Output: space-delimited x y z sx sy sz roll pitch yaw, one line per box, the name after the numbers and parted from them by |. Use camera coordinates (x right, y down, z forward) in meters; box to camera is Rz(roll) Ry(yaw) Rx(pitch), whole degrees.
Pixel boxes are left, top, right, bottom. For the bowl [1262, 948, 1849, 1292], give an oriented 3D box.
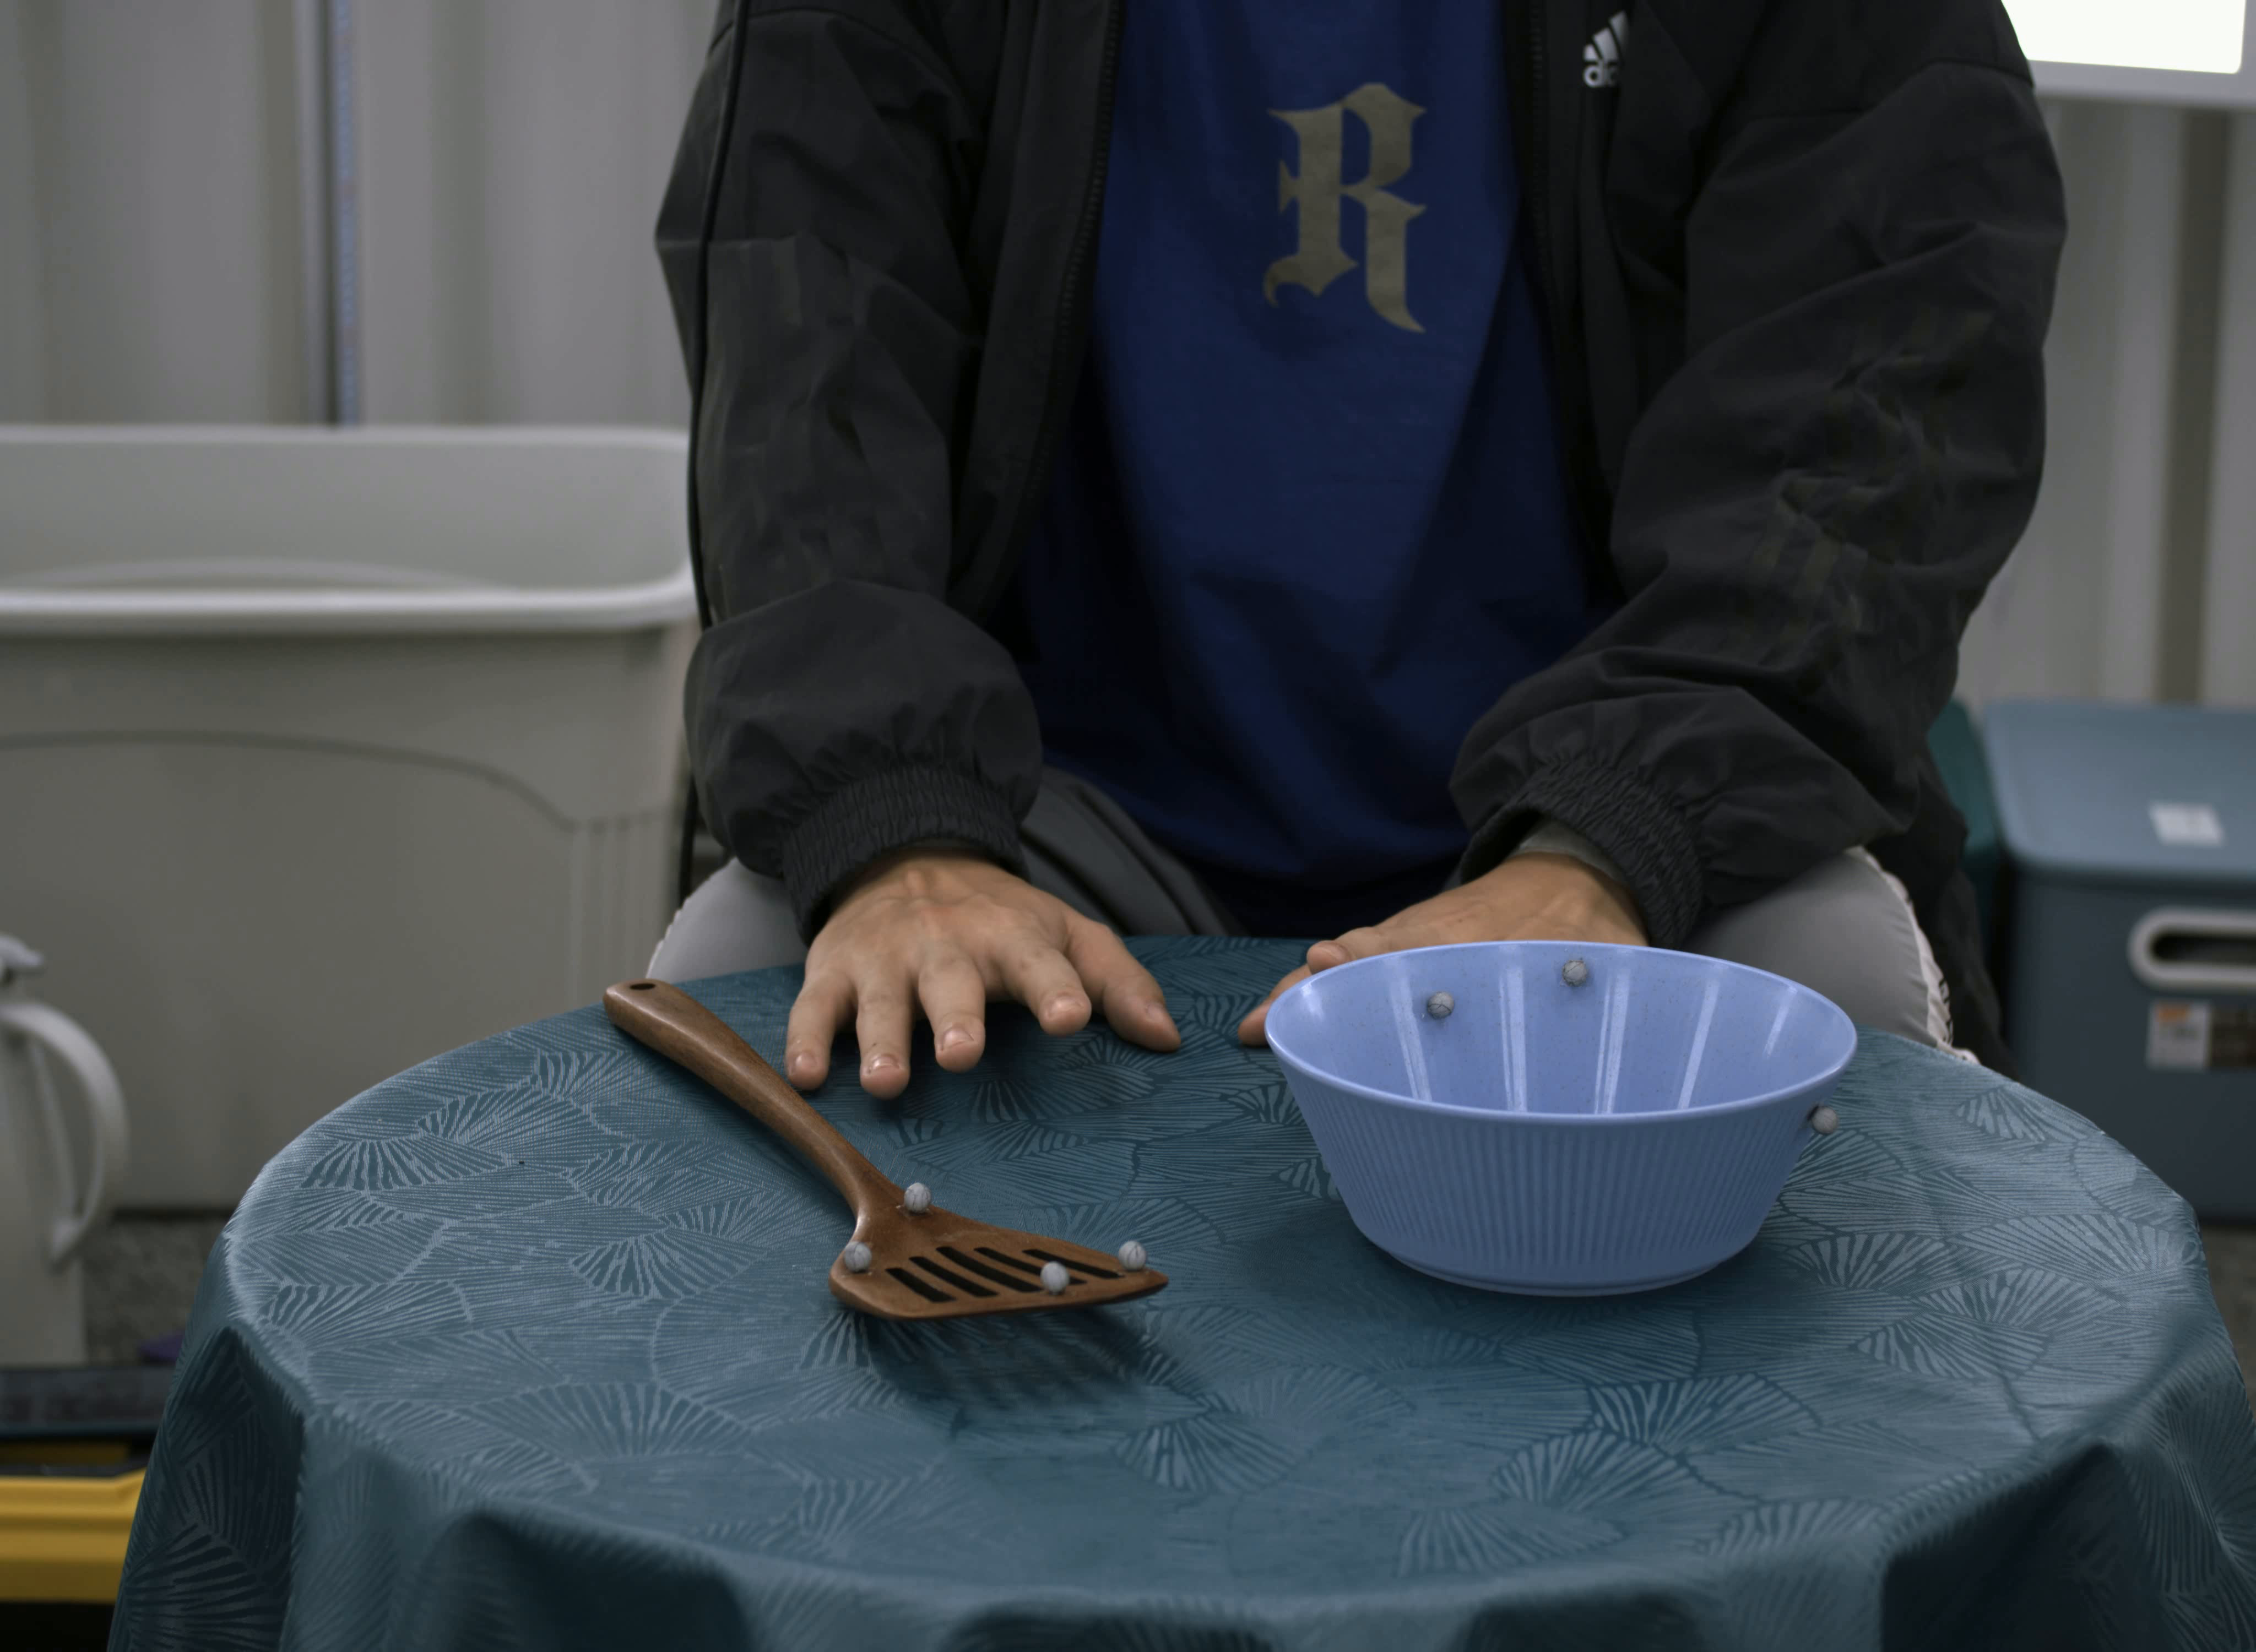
0.127 0.090 1.576 0.175 0.071 0.175 1 14 0 | bowl

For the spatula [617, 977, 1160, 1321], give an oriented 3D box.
-0.095 0.100 1.627 0.086 0.024 0.382 -5 15 -22 | spatula
